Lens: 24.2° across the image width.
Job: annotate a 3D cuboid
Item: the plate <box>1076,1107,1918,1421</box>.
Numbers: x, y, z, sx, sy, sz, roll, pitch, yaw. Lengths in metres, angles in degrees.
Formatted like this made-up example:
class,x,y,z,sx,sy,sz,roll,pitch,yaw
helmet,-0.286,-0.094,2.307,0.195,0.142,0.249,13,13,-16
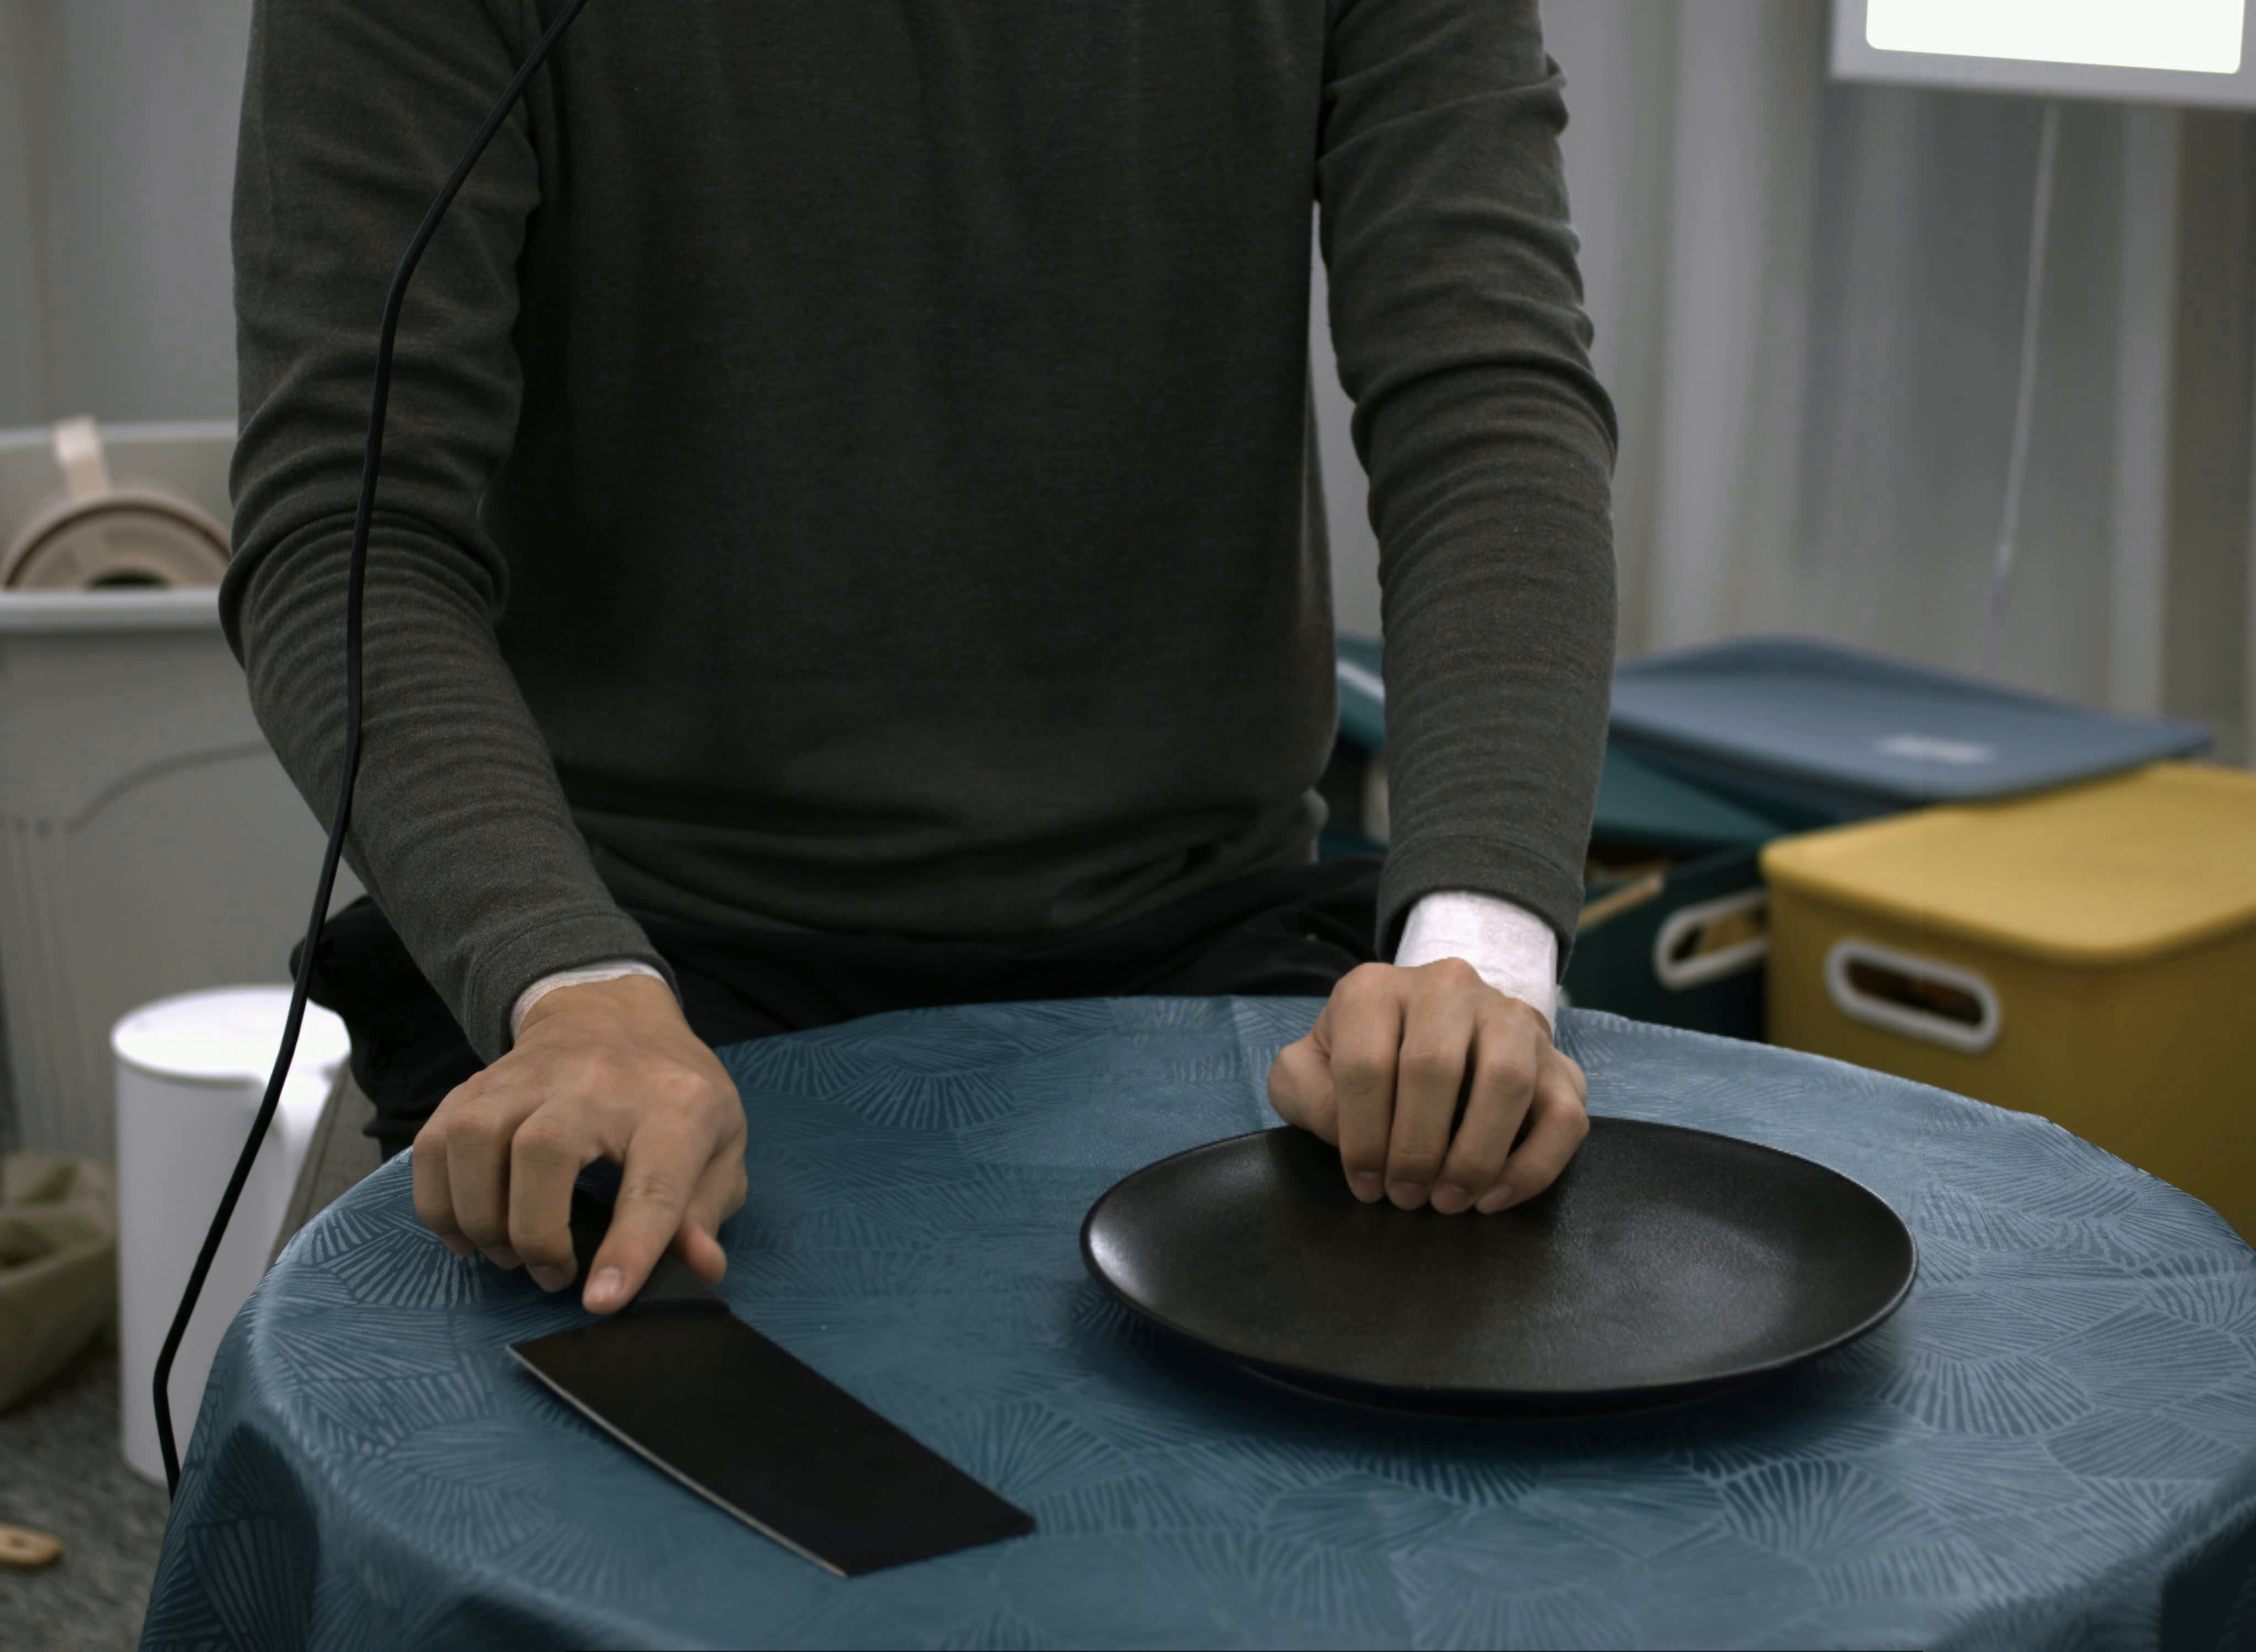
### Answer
class,x,y,z,sx,sy,sz,roll,pitch,yaw
plate,0.106,0.129,1.526,0.243,0.023,0.243,1,15,0

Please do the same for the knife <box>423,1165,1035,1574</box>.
class,x,y,z,sx,sy,sz,roll,pitch,yaw
knife,-0.128,0.148,1.467,0.081,0.021,0.298,-11,20,-27
